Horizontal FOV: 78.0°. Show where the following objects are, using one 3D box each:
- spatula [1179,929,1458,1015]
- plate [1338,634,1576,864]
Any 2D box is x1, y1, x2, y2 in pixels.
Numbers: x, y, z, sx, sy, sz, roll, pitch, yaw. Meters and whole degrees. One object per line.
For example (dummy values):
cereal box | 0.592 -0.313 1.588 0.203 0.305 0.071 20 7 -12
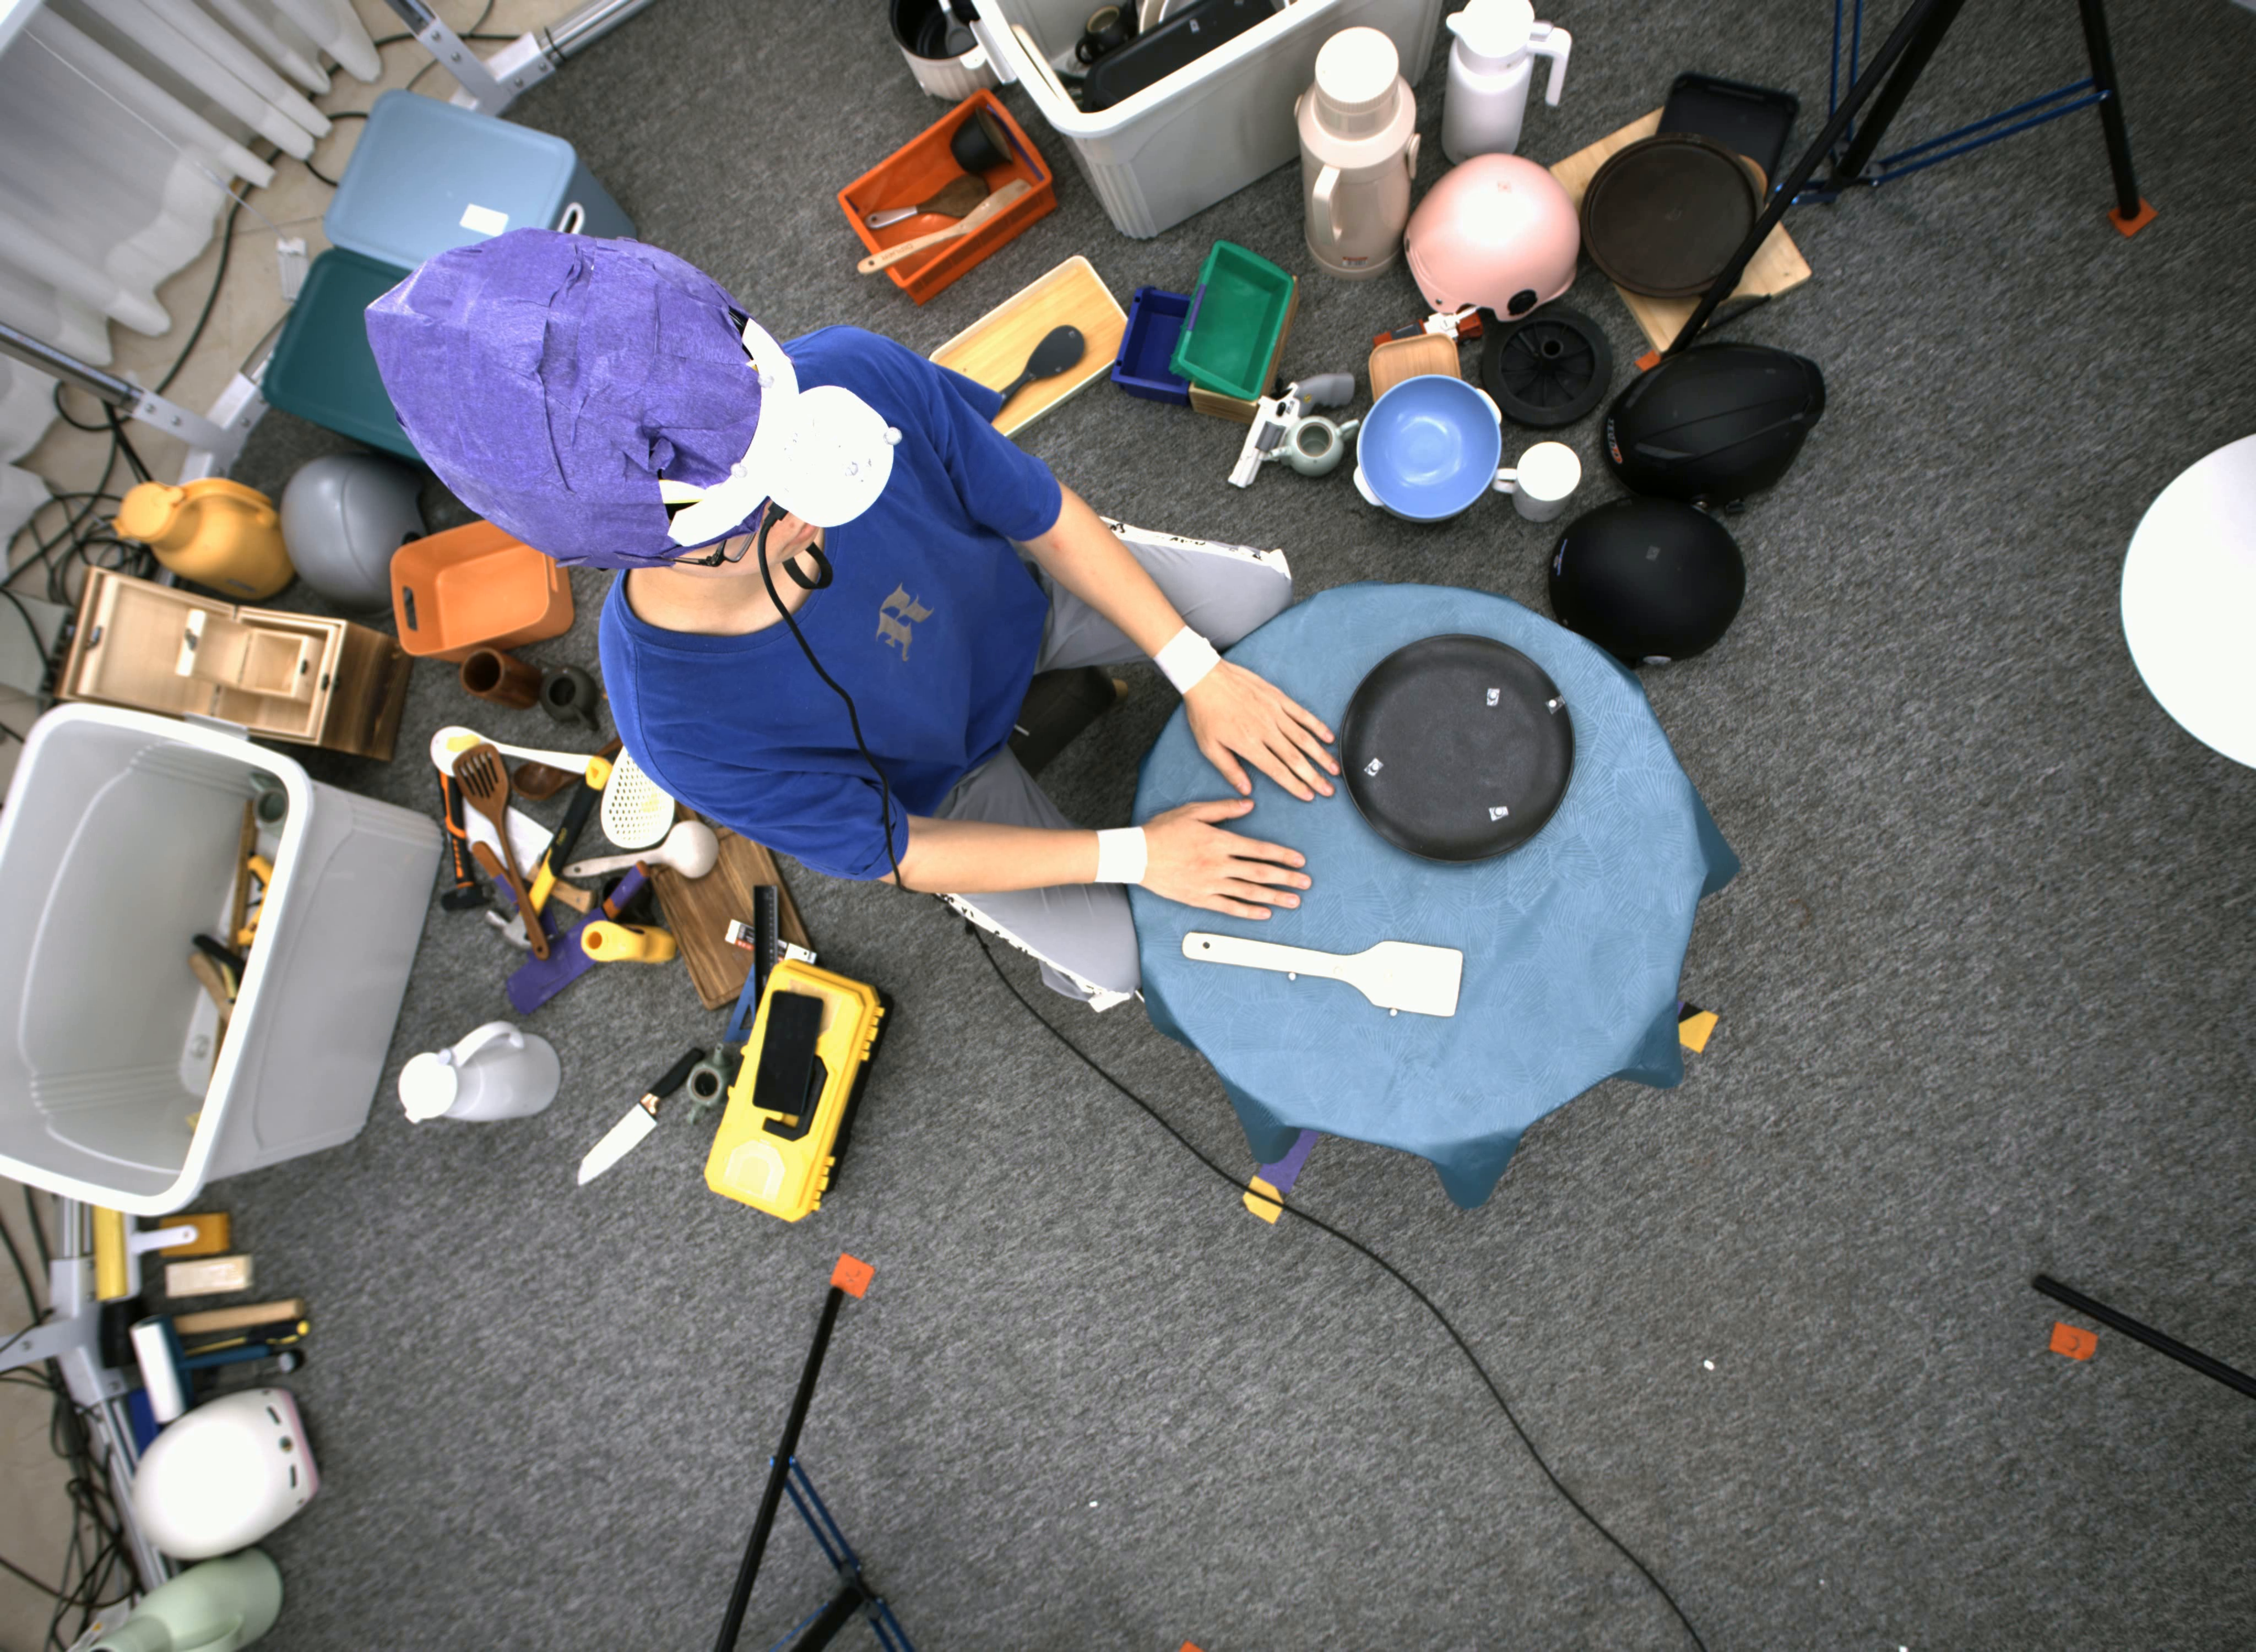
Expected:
spatula | 0.198 0.143 1.463 0.294 0.010 0.072 7 90 11
plate | 0.344 -0.083 1.440 0.245 0.023 0.243 -1 87 11
